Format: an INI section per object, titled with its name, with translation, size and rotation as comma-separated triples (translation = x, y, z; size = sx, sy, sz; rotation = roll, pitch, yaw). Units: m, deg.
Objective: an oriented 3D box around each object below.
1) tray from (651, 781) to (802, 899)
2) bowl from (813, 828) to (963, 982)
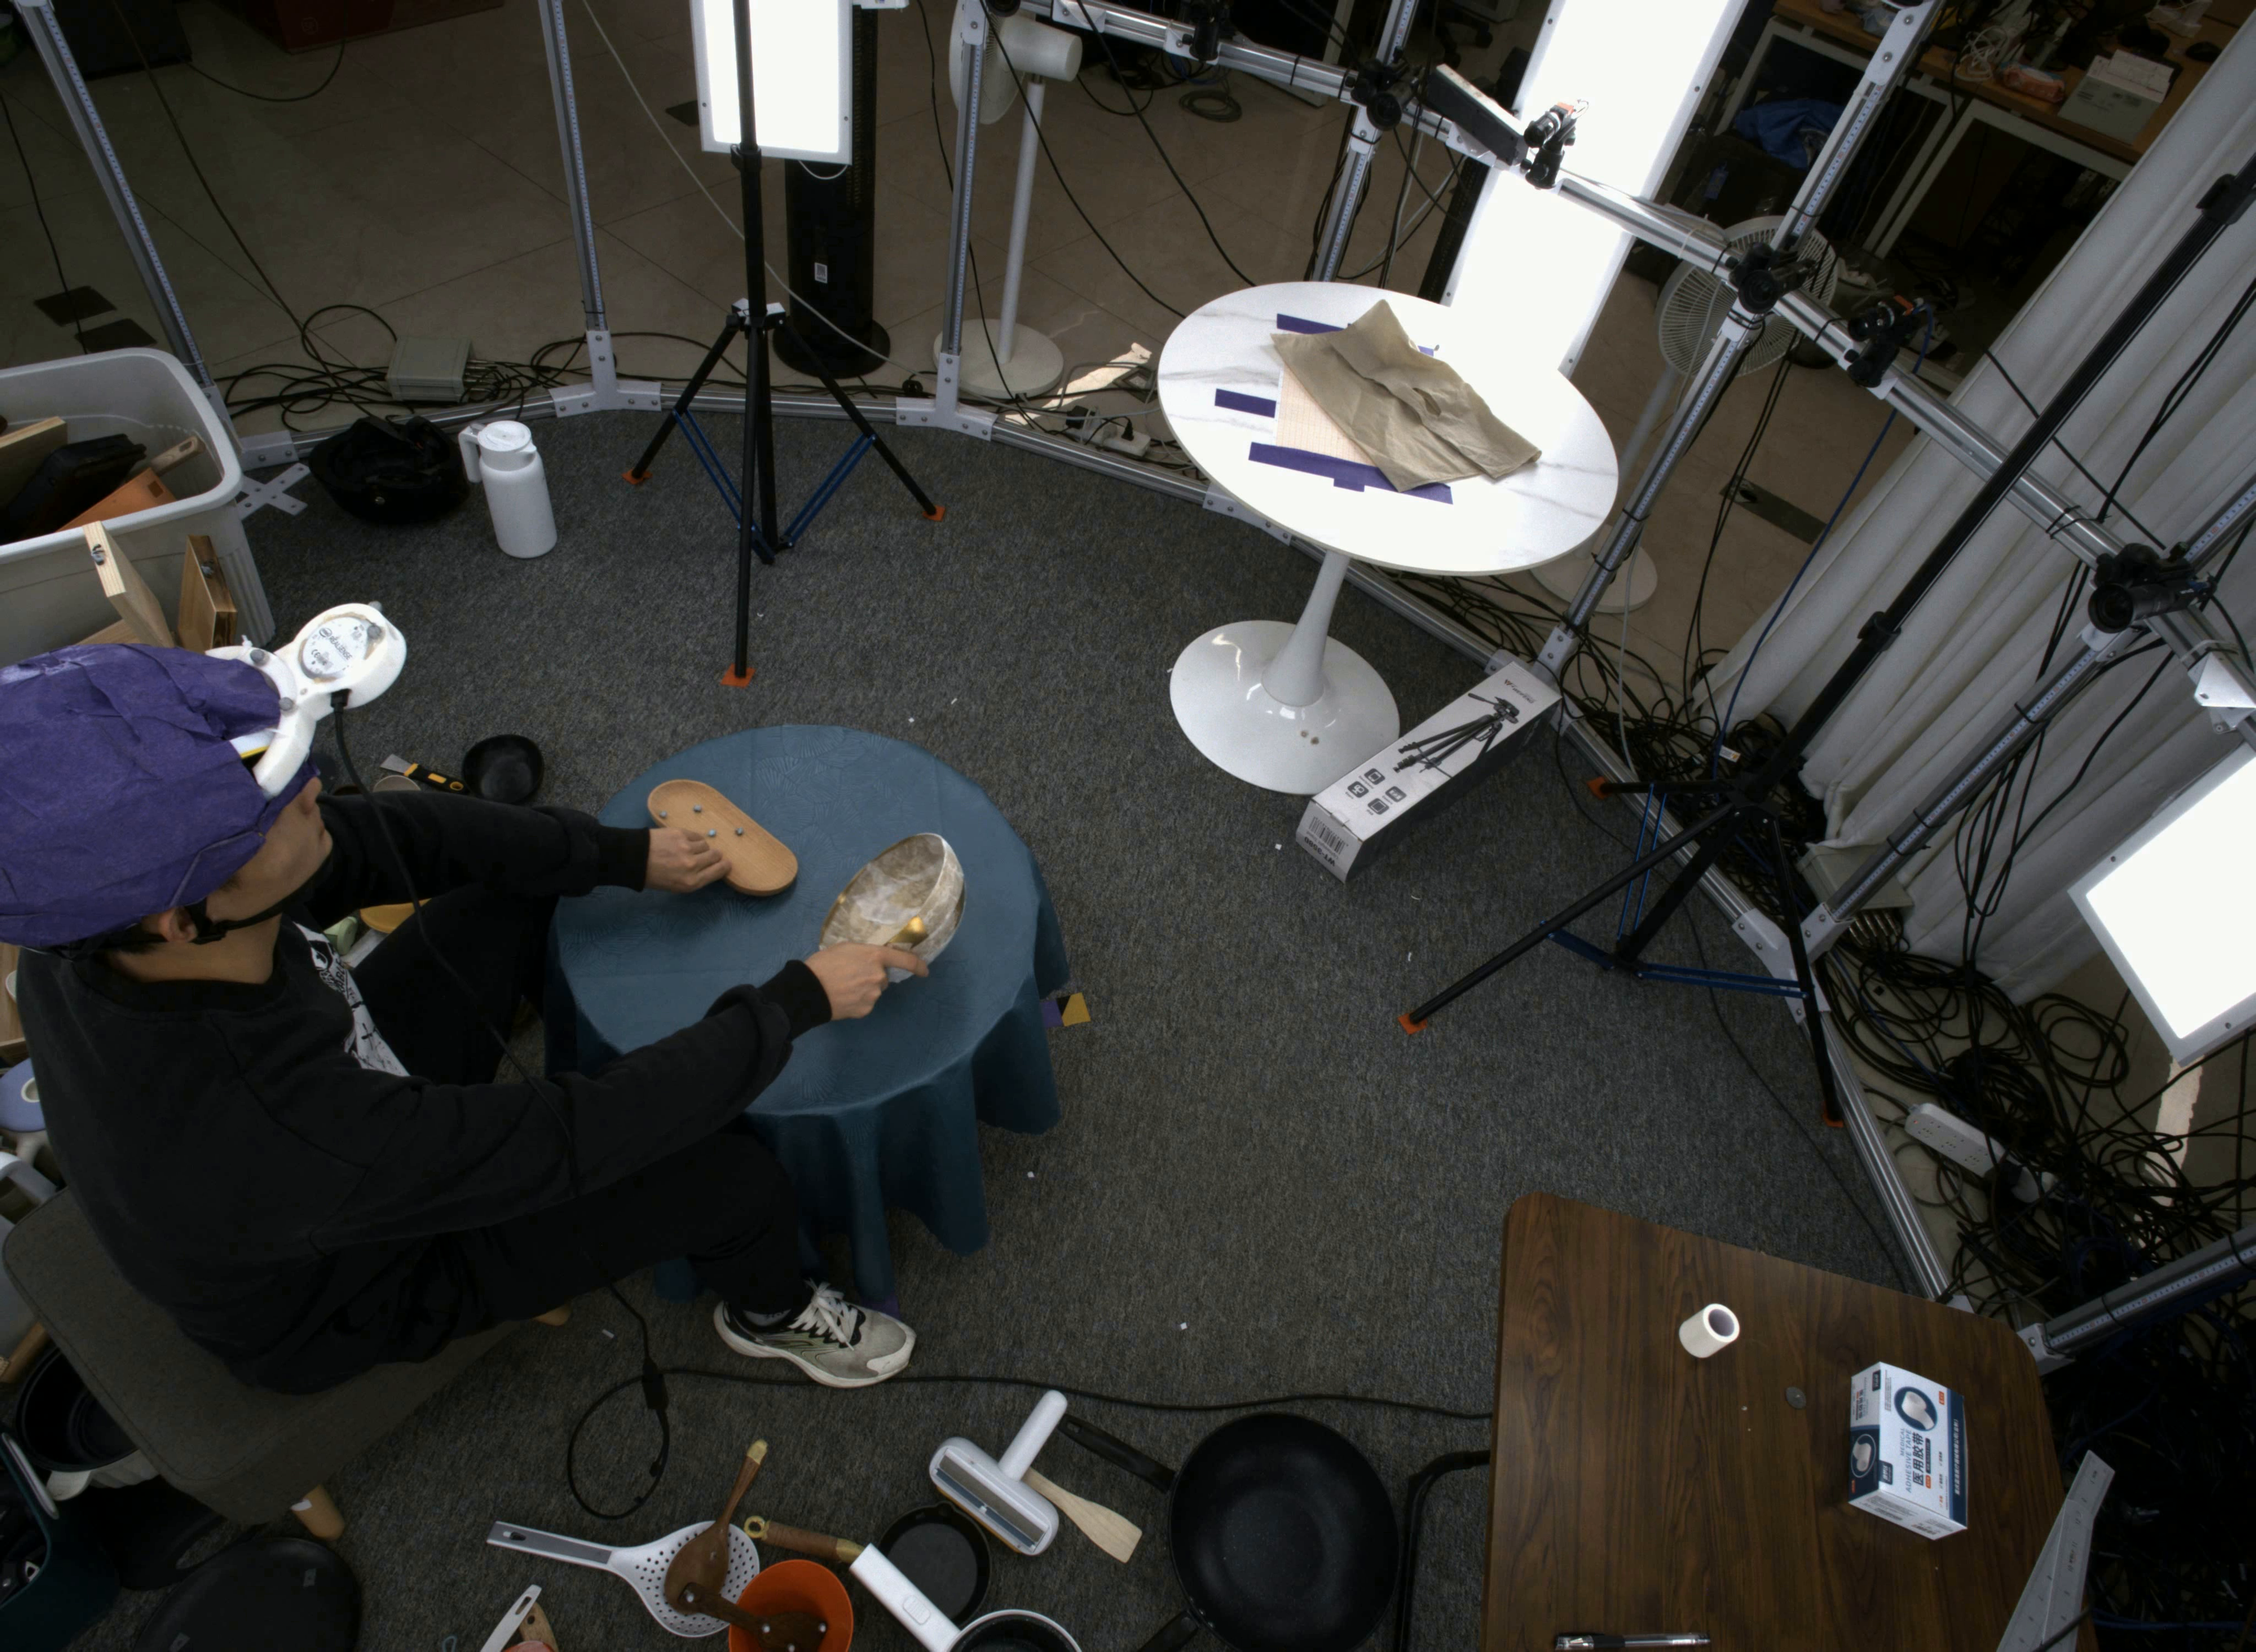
[tray]
translation = -0.521, 0.016, 1.670
size = 0.227, 0.020, 0.102
rotation = 37, 42, 11
[bowl]
translation = -0.275, 0.110, 1.575
size = 0.098, 0.211, 0.210
rotation = 47, 28, -33
